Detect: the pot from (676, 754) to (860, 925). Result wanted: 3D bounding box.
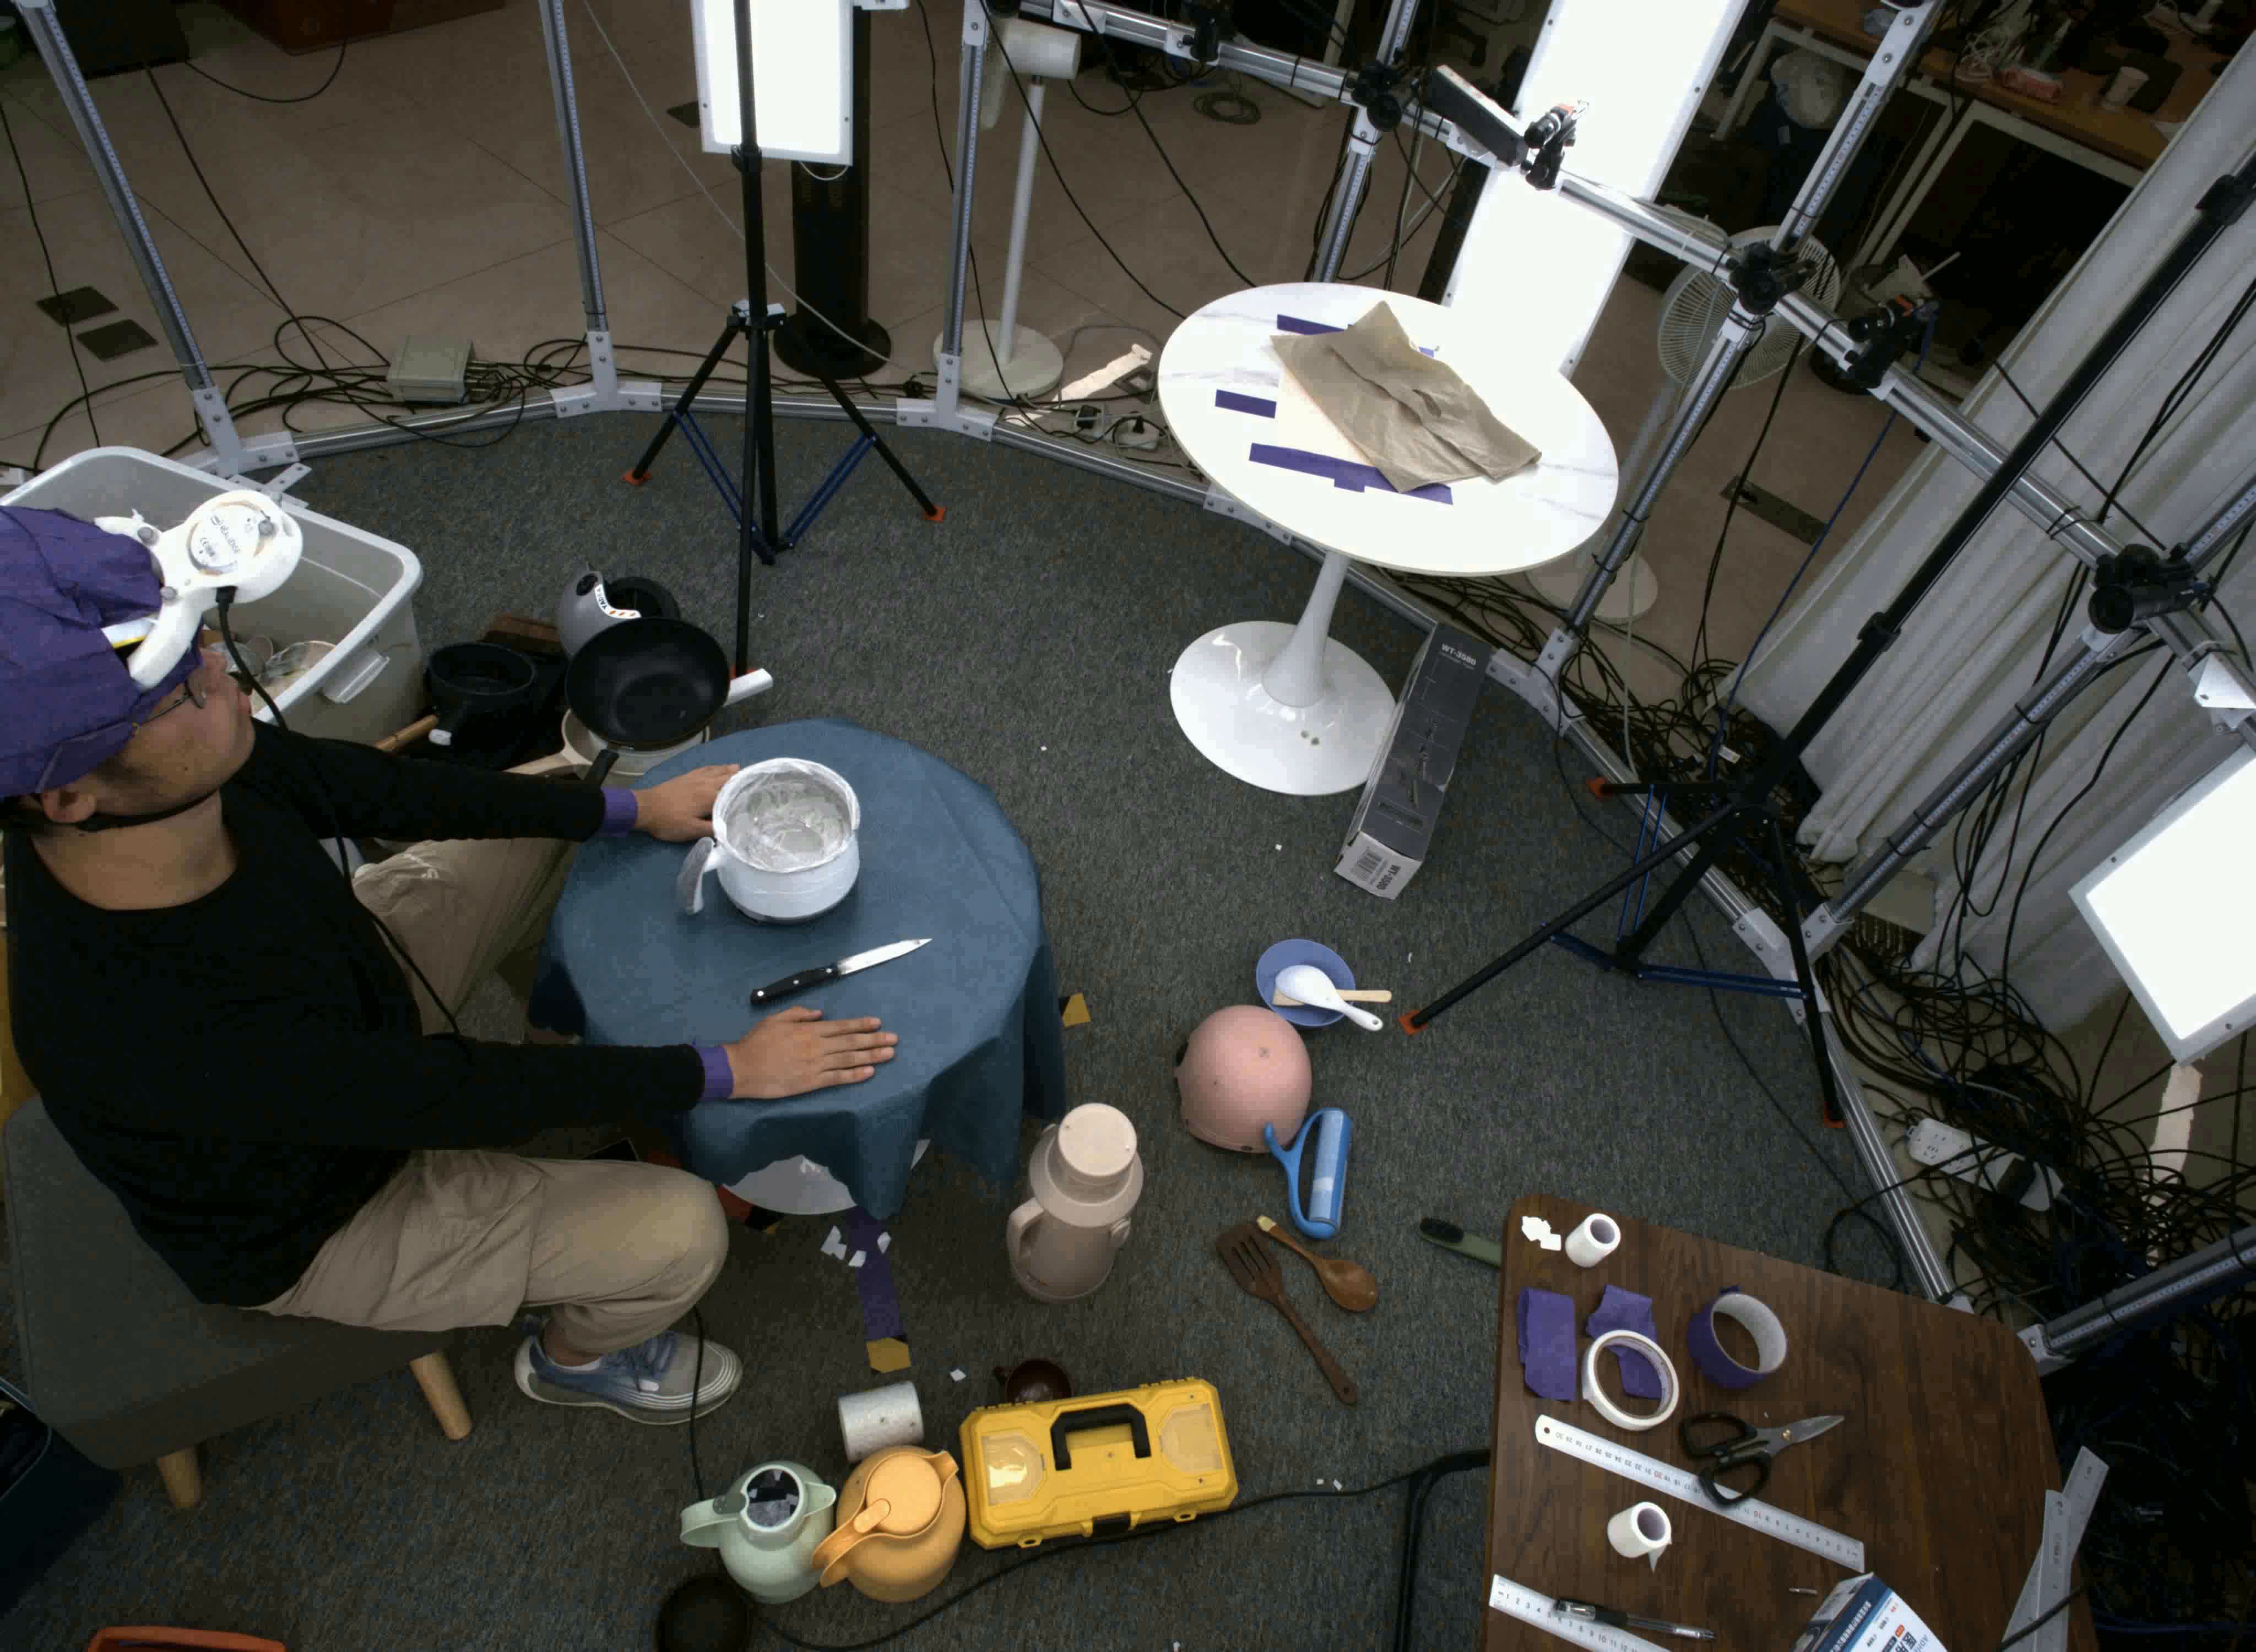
[{"bbox_3d":[-0.447,0.029,1.602,0.235,0.139,0.174,-24,61,-29],"label":"pot"}]

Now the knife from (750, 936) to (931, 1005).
[{"bbox_3d":[-0.350,0.173,1.604,0.240,0.016,0.024,-18,59,-29],"label":"knife"}]
